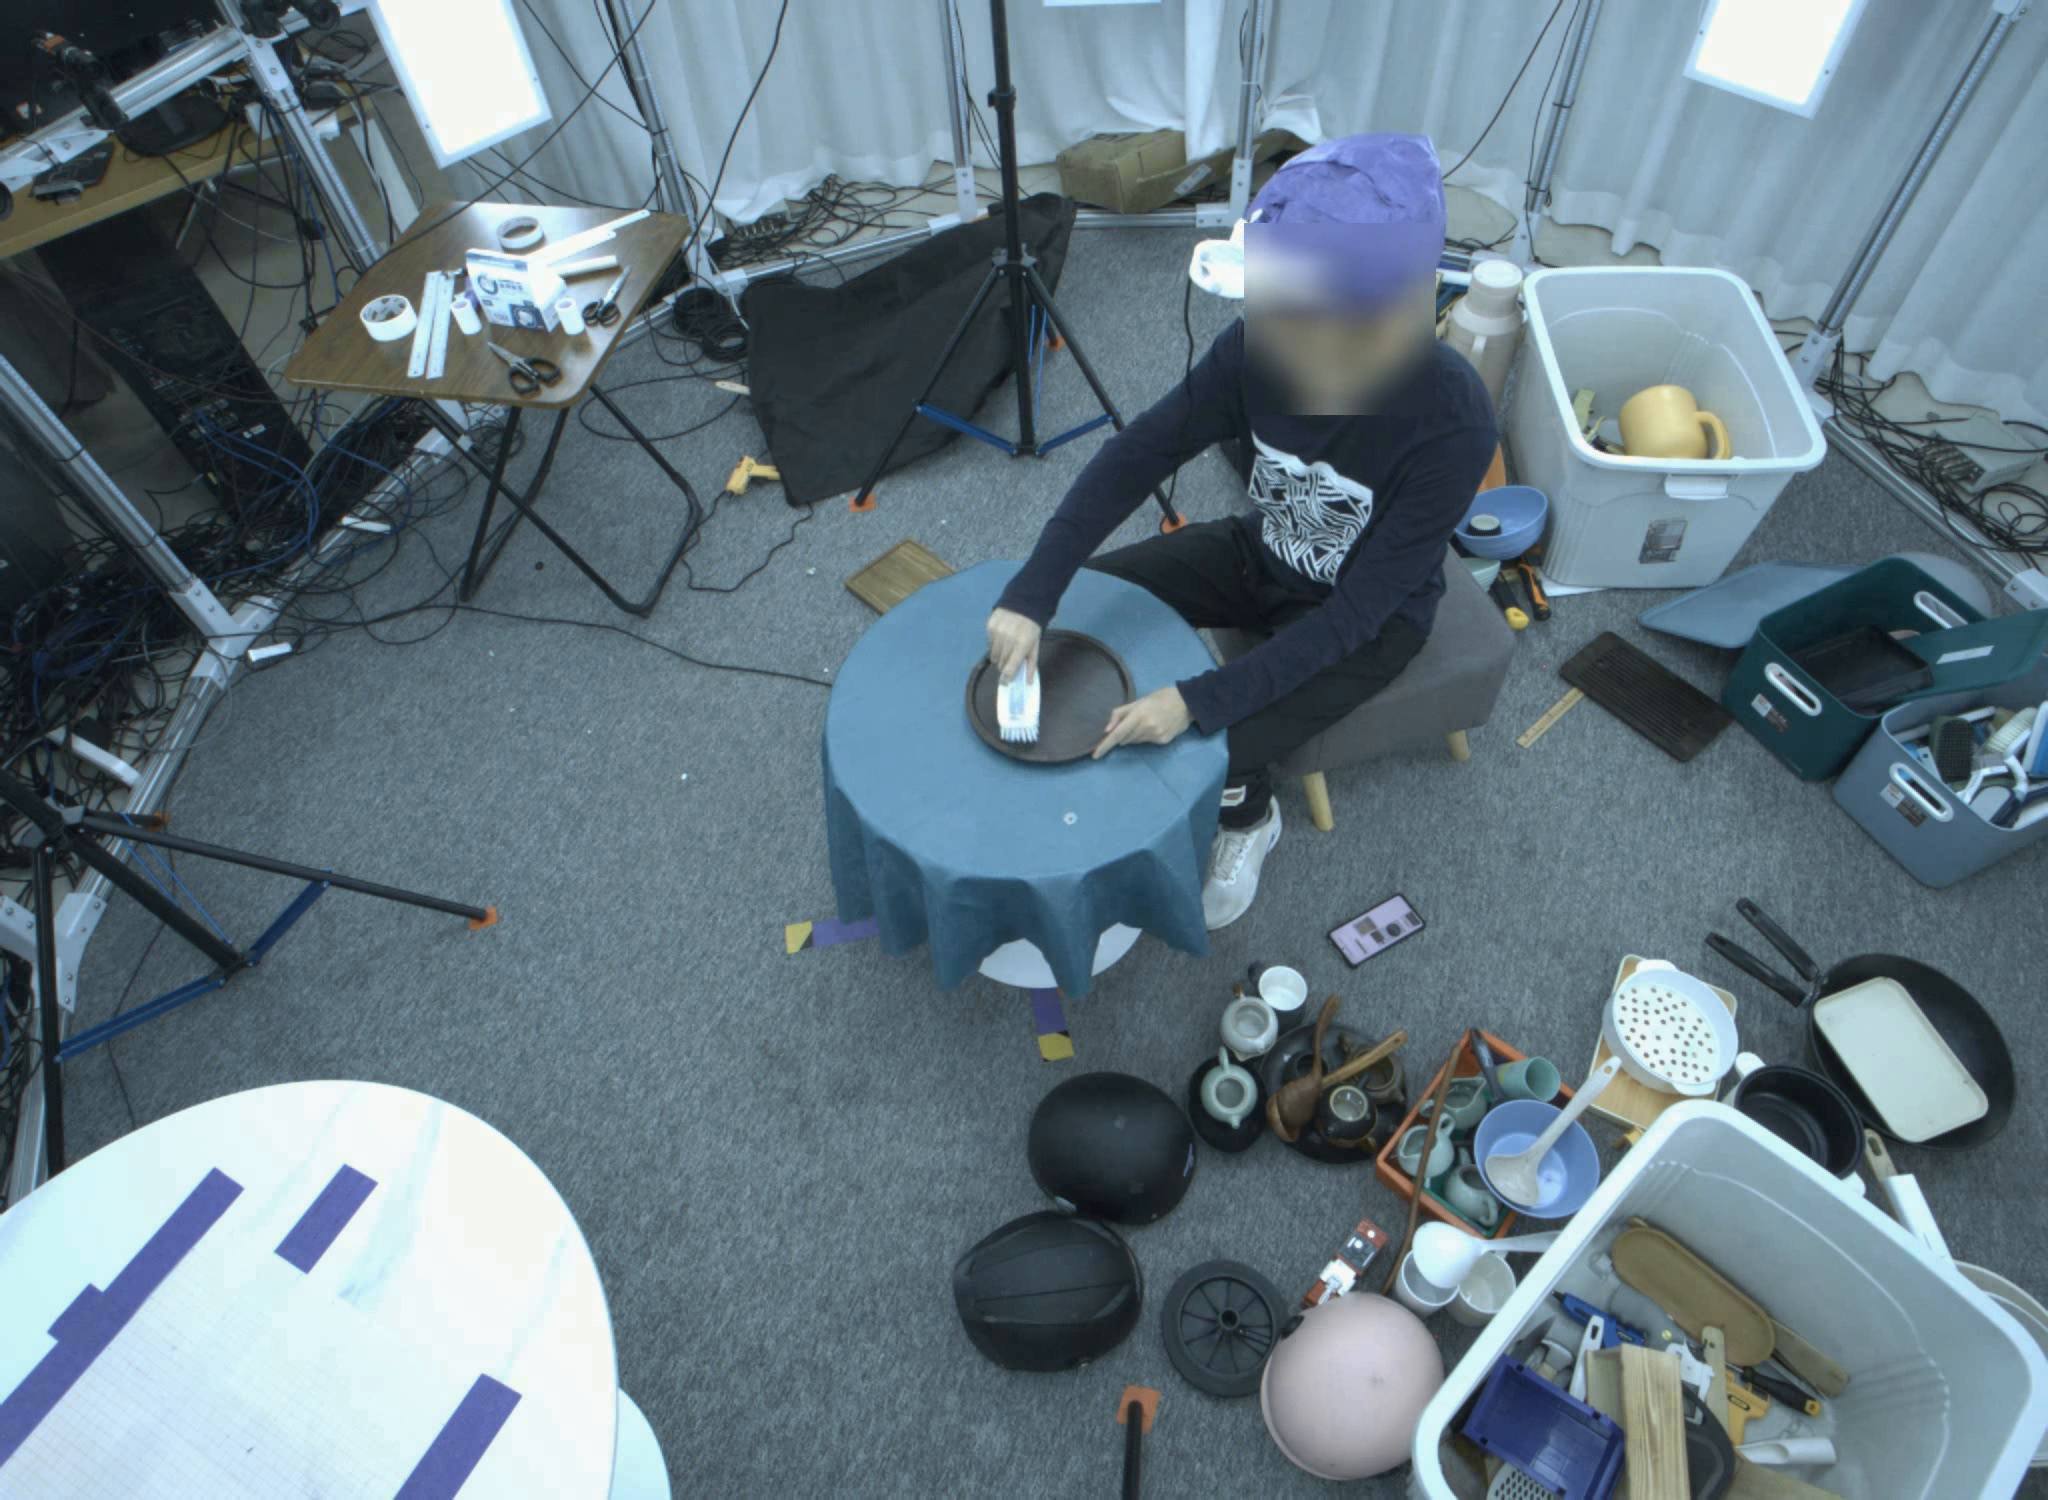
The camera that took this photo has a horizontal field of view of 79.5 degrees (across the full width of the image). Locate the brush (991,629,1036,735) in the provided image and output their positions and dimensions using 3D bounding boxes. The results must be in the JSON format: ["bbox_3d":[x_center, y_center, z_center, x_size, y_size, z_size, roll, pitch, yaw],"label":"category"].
[{"bbox_3d":[-0.012,-0.116,1.780,0.061,0.095,0.174,3,54,7],"label":"brush"}]

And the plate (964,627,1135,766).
[{"bbox_3d":[0.037,-0.081,1.826,0.254,0.029,0.252,-1,55,2],"label":"plate"}]
